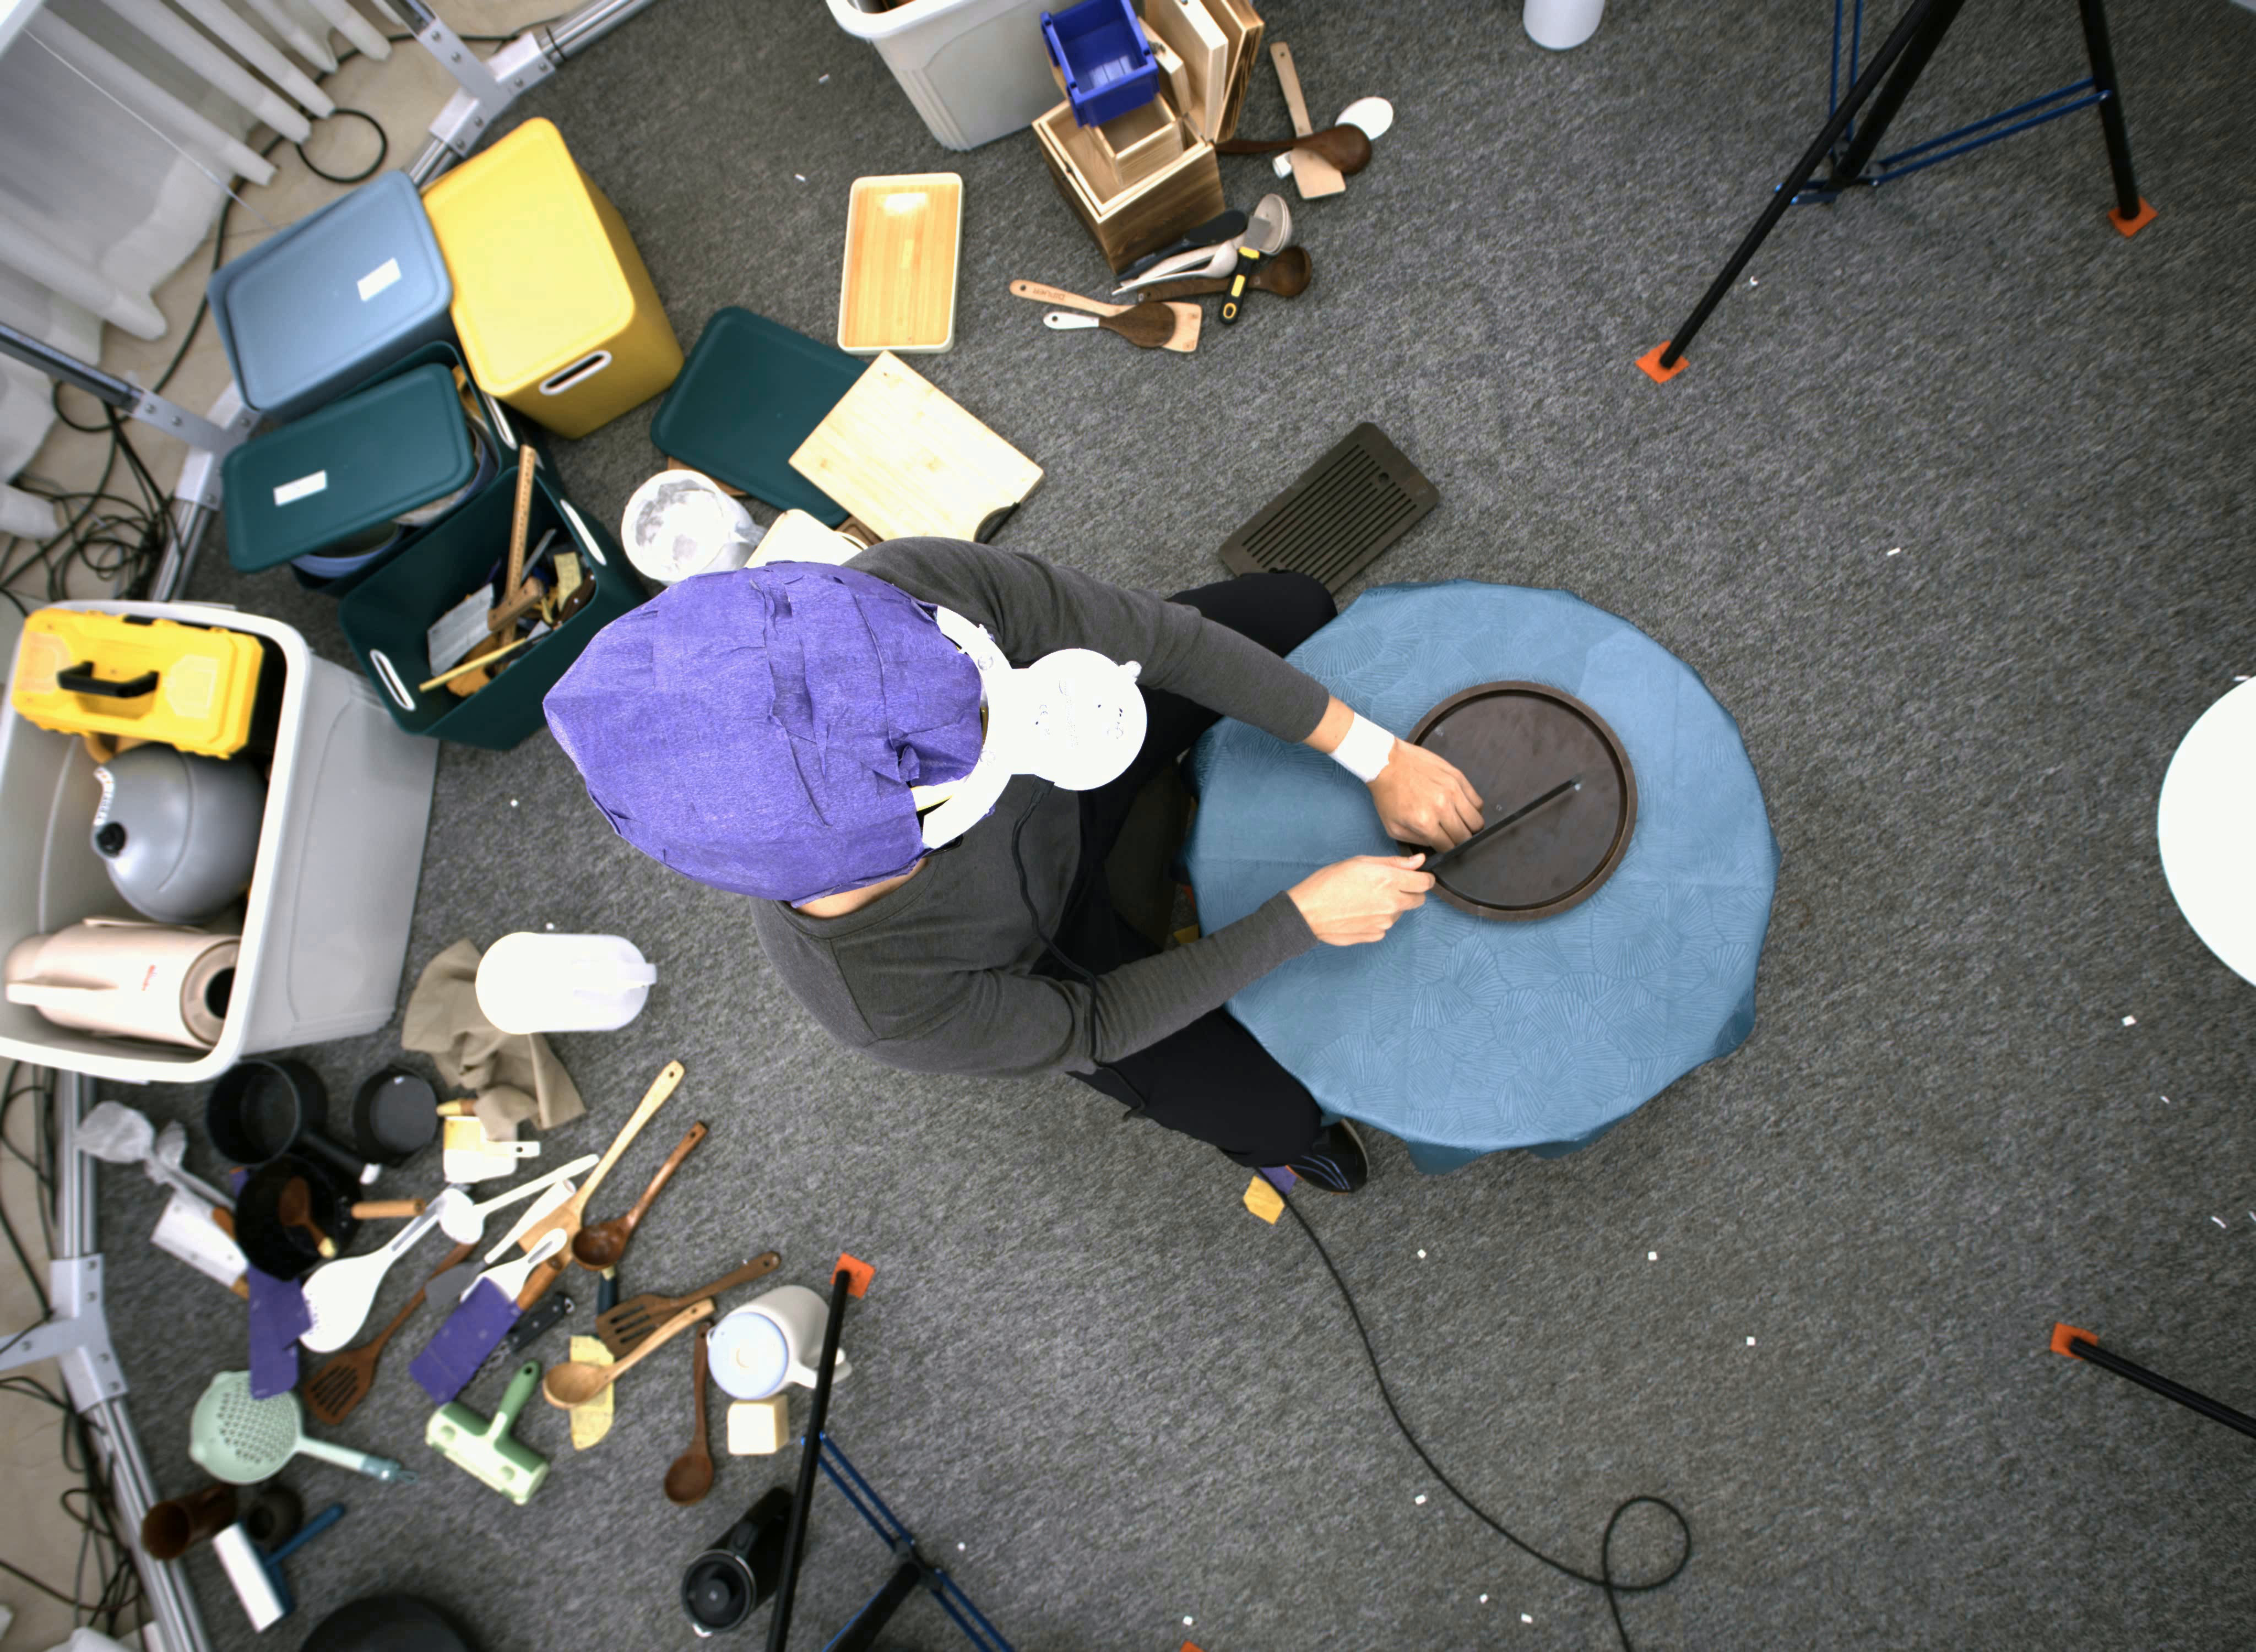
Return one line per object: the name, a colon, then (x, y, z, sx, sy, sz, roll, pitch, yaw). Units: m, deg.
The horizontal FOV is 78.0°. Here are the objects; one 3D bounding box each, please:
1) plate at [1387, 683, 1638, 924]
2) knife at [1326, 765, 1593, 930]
plate: (0.398, -0.027, 1.430, 0.256, 0.029, 0.254, -1, 88, 10)
knife: (0.331, 0.020, 1.371, 0.303, 0.081, 0.020, -31, 75, 5)
